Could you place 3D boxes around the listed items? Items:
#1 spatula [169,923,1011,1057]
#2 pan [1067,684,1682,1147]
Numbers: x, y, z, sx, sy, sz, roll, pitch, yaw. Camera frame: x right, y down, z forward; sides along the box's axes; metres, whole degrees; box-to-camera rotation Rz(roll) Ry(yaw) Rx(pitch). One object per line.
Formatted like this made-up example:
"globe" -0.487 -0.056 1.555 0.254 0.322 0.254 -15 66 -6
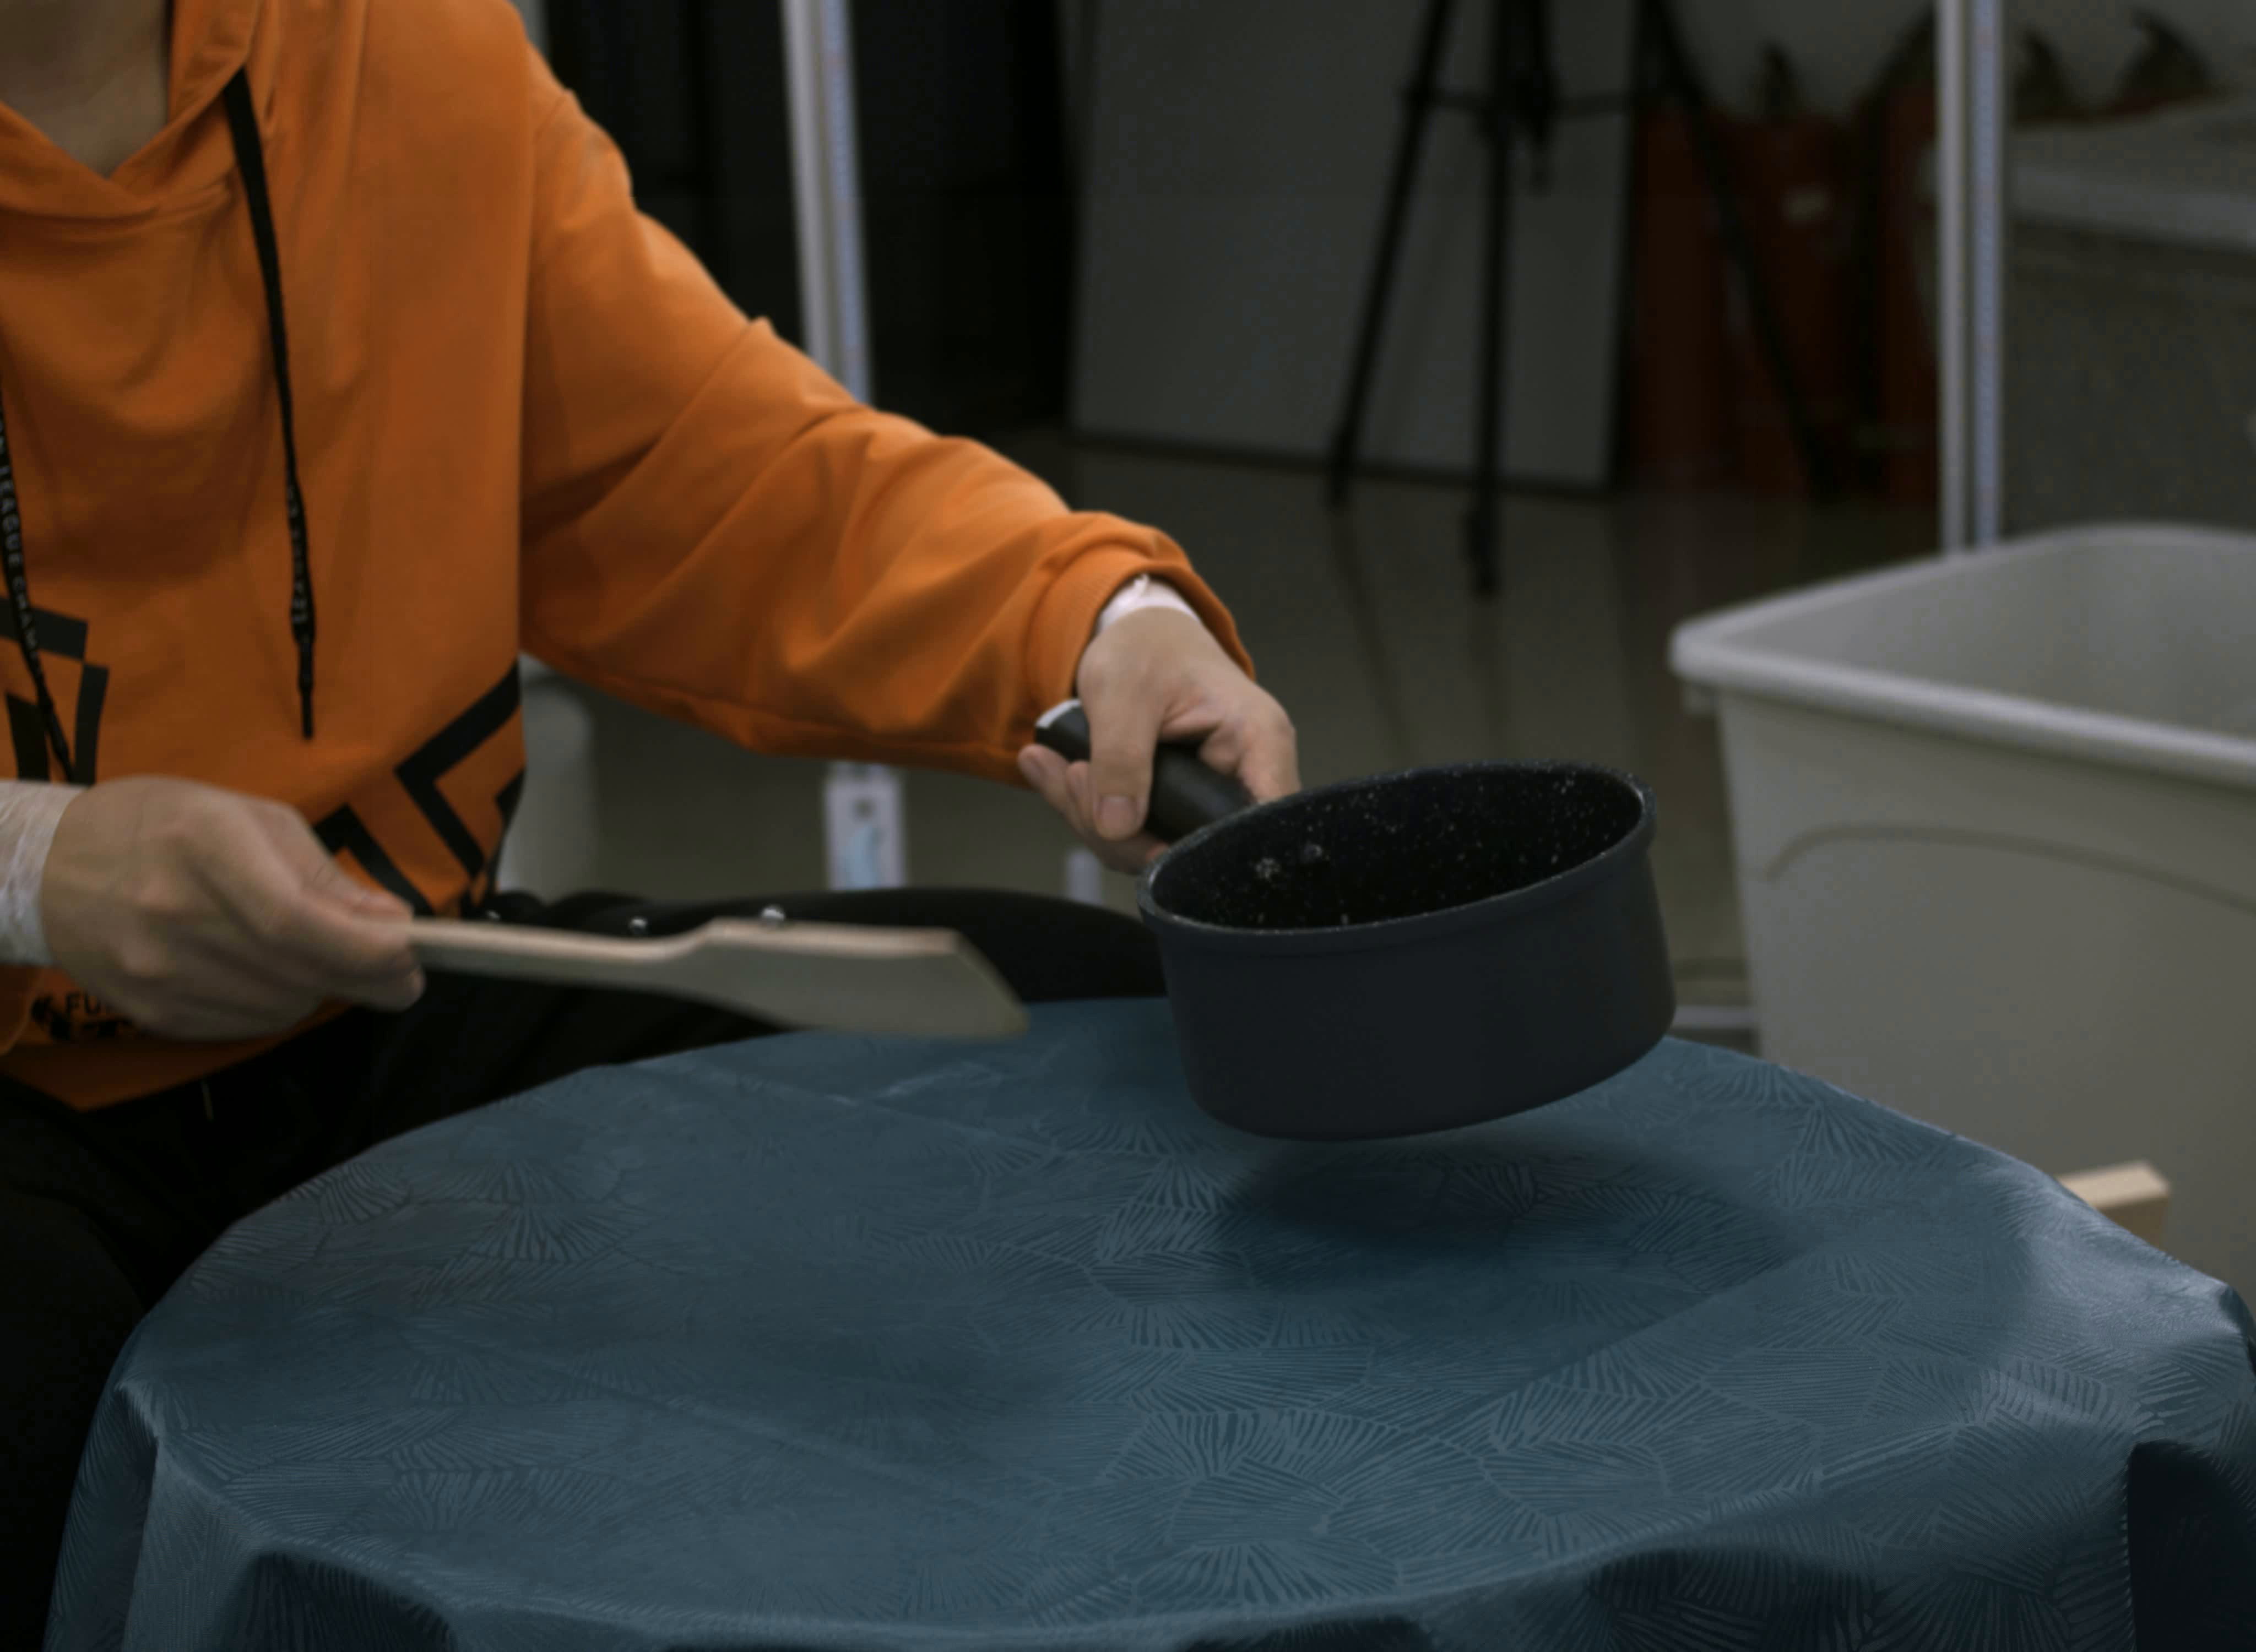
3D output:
"spatula" -0.178 0.048 1.702 0.293 0.011 0.071 4 -21 26
"pan" 0.061 0.023 1.810 0.169 0.087 0.332 -17 17 -19
